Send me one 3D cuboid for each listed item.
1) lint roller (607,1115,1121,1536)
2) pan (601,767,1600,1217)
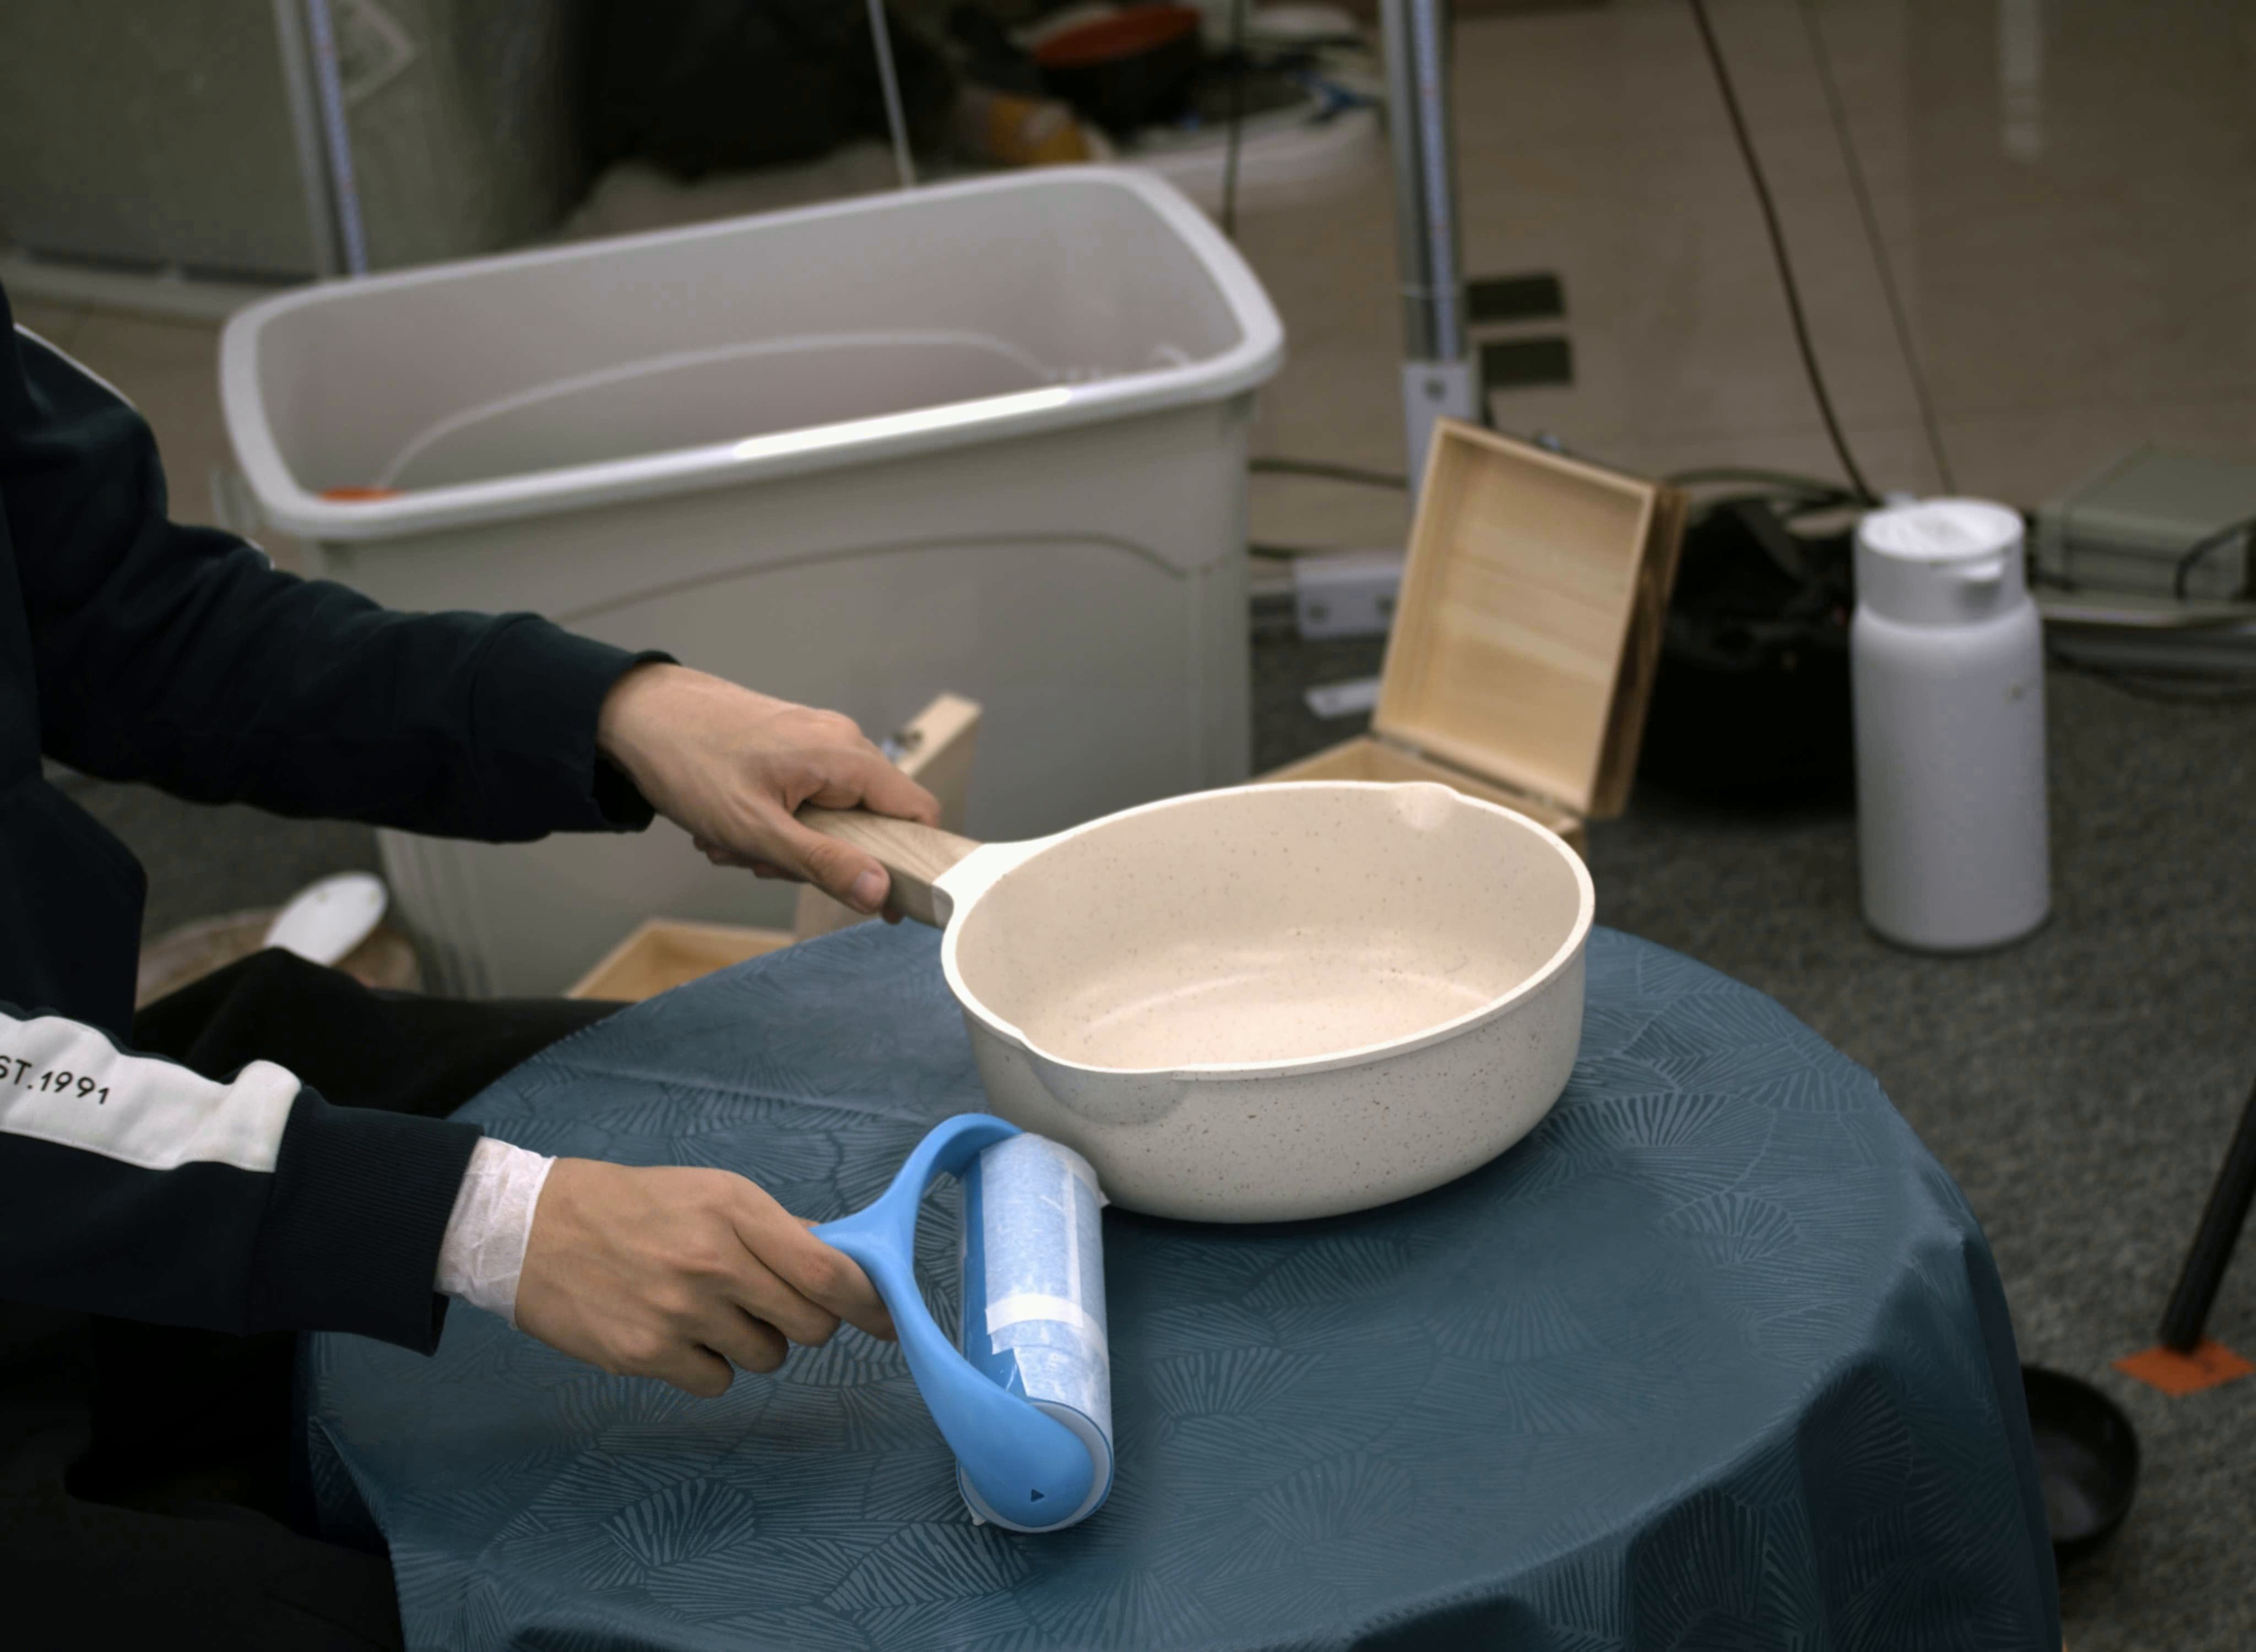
[{"bbox_3d":[-0.091,0.172,1.999,0.180,0.069,0.225,4,27,-7],"label":"lint roller"},{"bbox_3d":[-0.019,0.049,2.221,0.433,0.103,0.260,9,30,31],"label":"pan"}]
